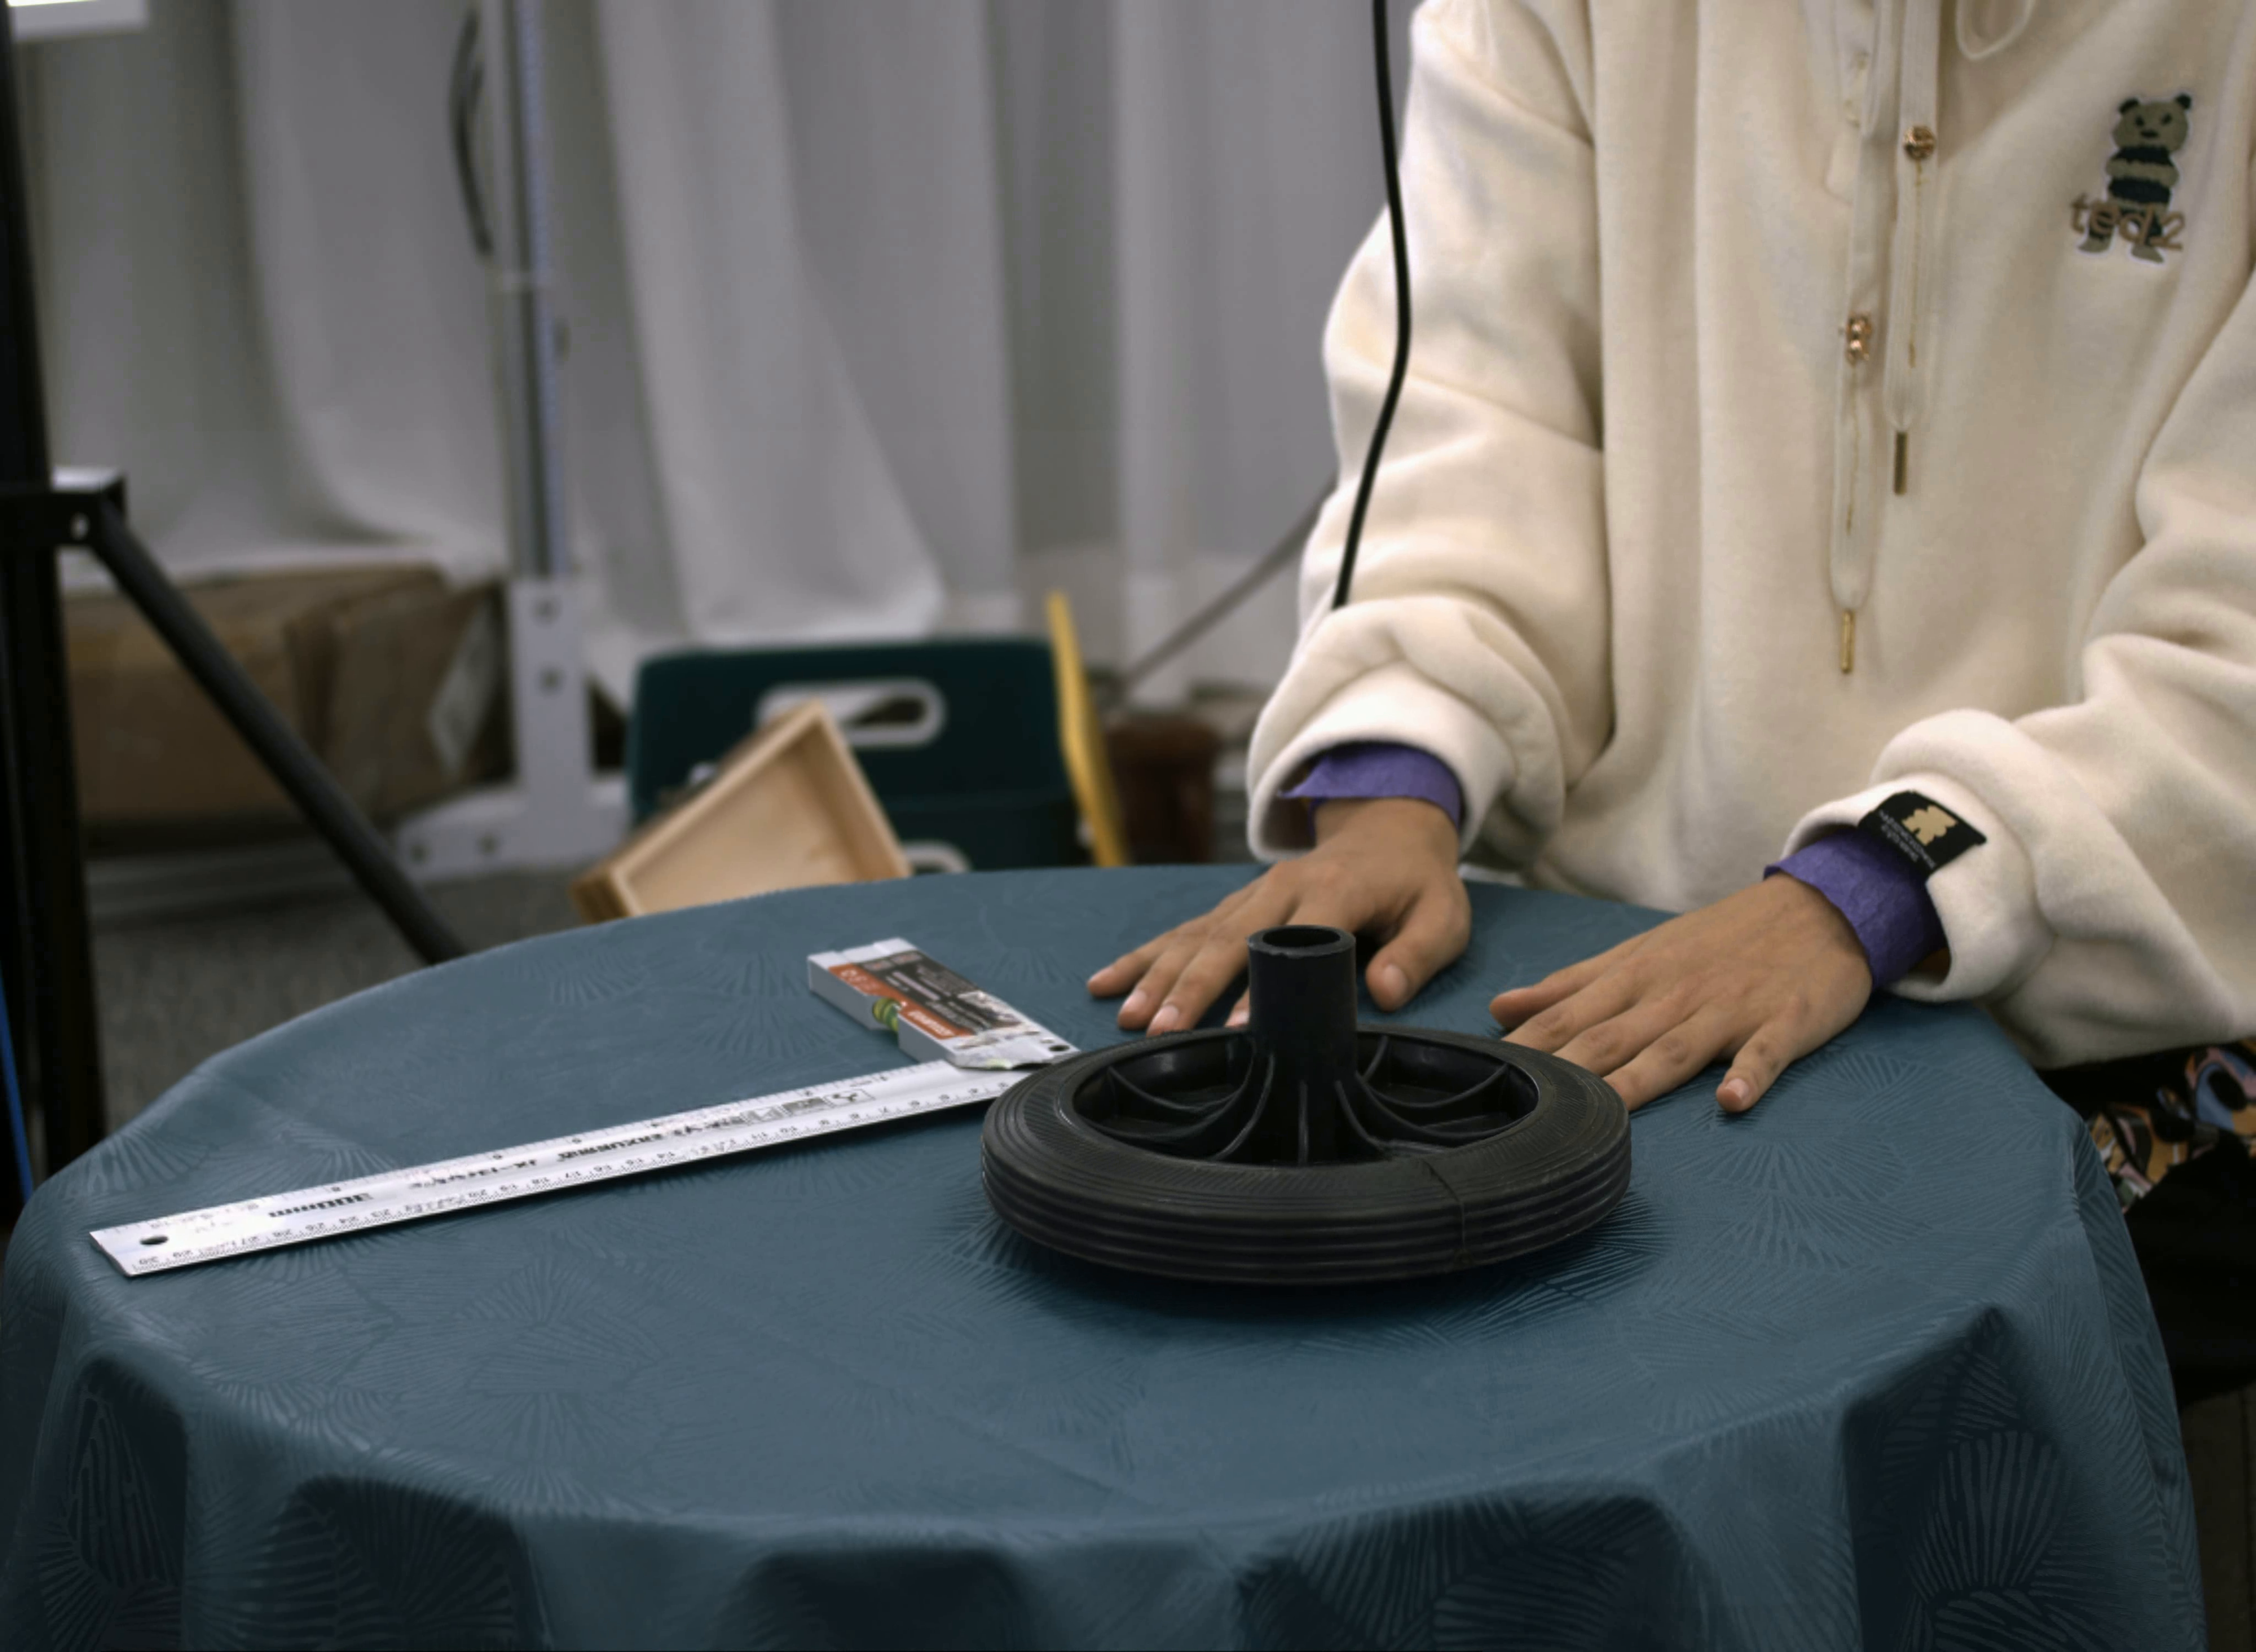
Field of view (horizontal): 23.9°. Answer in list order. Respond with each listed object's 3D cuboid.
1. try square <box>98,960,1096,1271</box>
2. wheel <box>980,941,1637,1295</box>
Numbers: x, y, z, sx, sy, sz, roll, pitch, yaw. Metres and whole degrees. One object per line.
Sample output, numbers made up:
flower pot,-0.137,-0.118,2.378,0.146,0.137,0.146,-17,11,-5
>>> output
try square,-0.177,0.088,1.651,0.307,0.016,0.155,-10,15,-22
wheel,0.052,0.075,1.525,0.191,0.079,0.186,1,15,11
